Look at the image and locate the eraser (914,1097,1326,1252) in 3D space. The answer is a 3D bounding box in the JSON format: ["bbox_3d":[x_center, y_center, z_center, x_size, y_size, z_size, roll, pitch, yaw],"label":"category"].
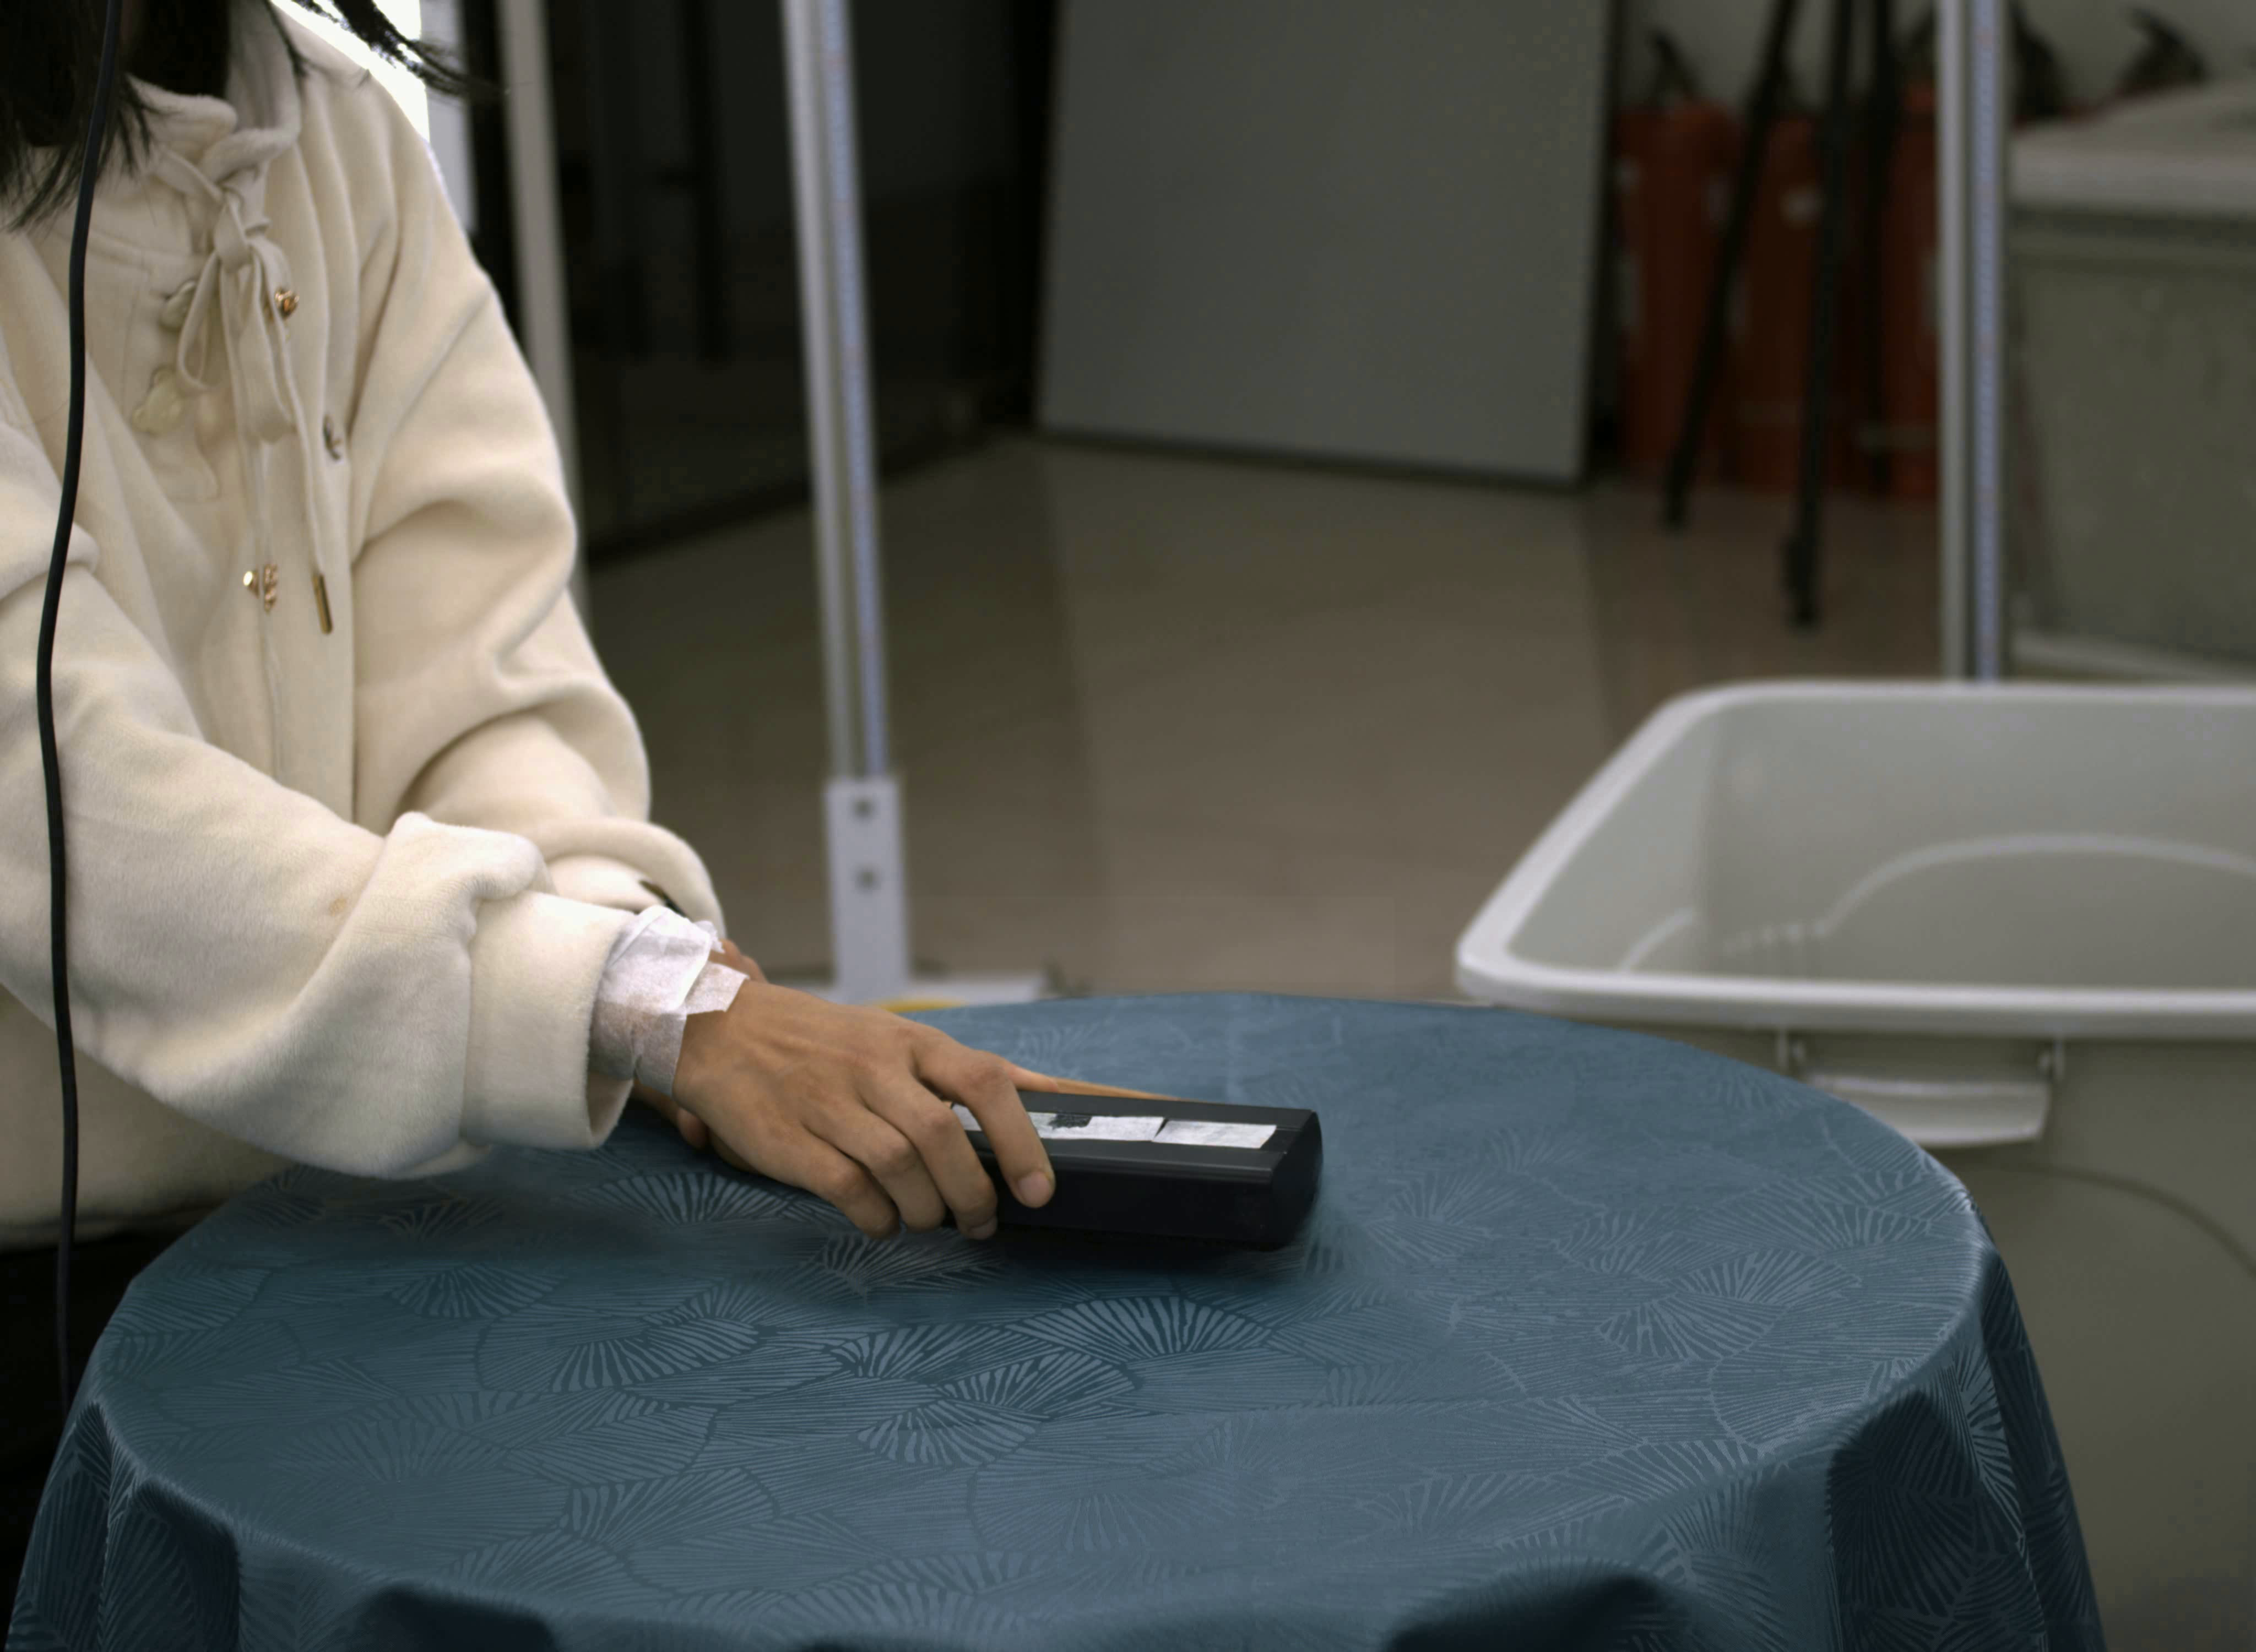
[{"bbox_3d":[-0.001,0.109,1.702,0.125,0.031,0.053,3,18,21],"label":"eraser"}]

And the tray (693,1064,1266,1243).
[{"bbox_3d":[-0.046,0.109,1.802,0.233,0.020,0.100,5,16,37],"label":"tray"}]
